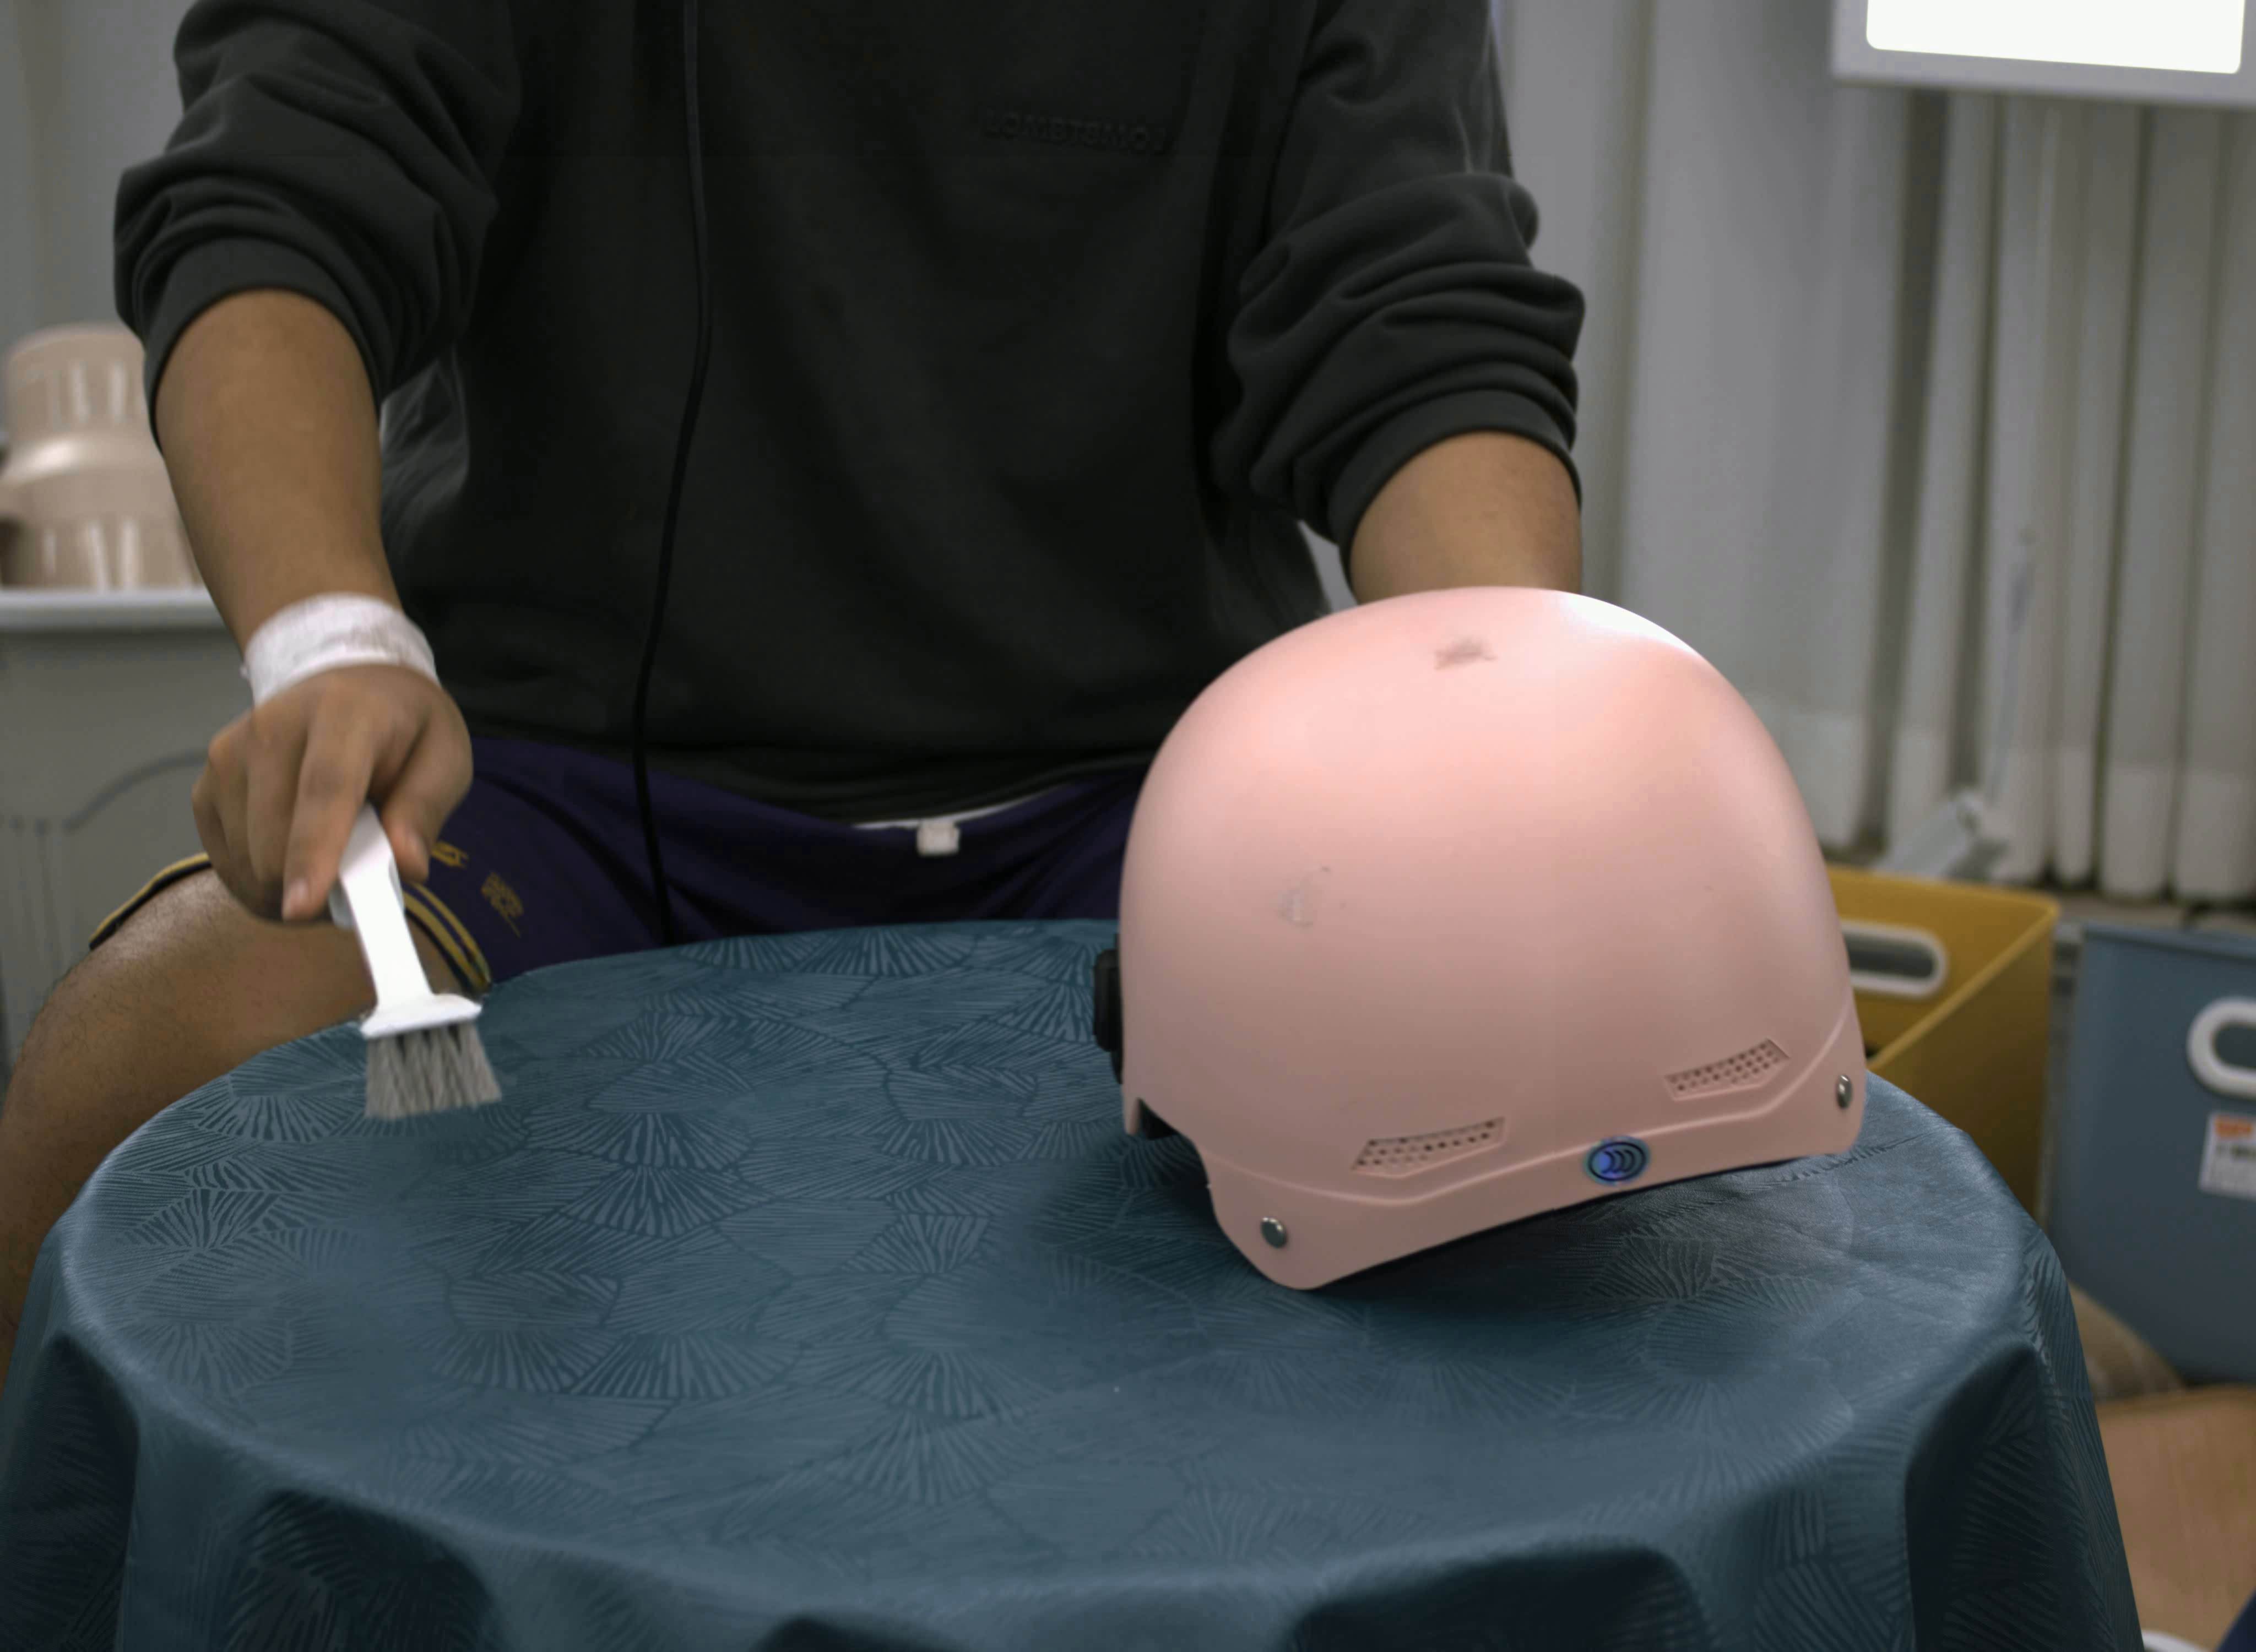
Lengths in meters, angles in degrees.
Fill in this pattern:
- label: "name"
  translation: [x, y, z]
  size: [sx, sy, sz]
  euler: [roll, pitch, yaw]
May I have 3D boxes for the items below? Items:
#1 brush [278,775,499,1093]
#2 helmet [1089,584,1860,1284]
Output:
- label: "brush"
  translation: [-0.220, 0.033, 1.547]
  size: [0.034, 0.051, 0.241]
  euler: [-12, 17, -13]
- label: "helmet"
  translation: [0.096, 0.008, 1.594]
  size: [0.234, 0.161, 0.263]
  euler: [-15, 27, -8]
